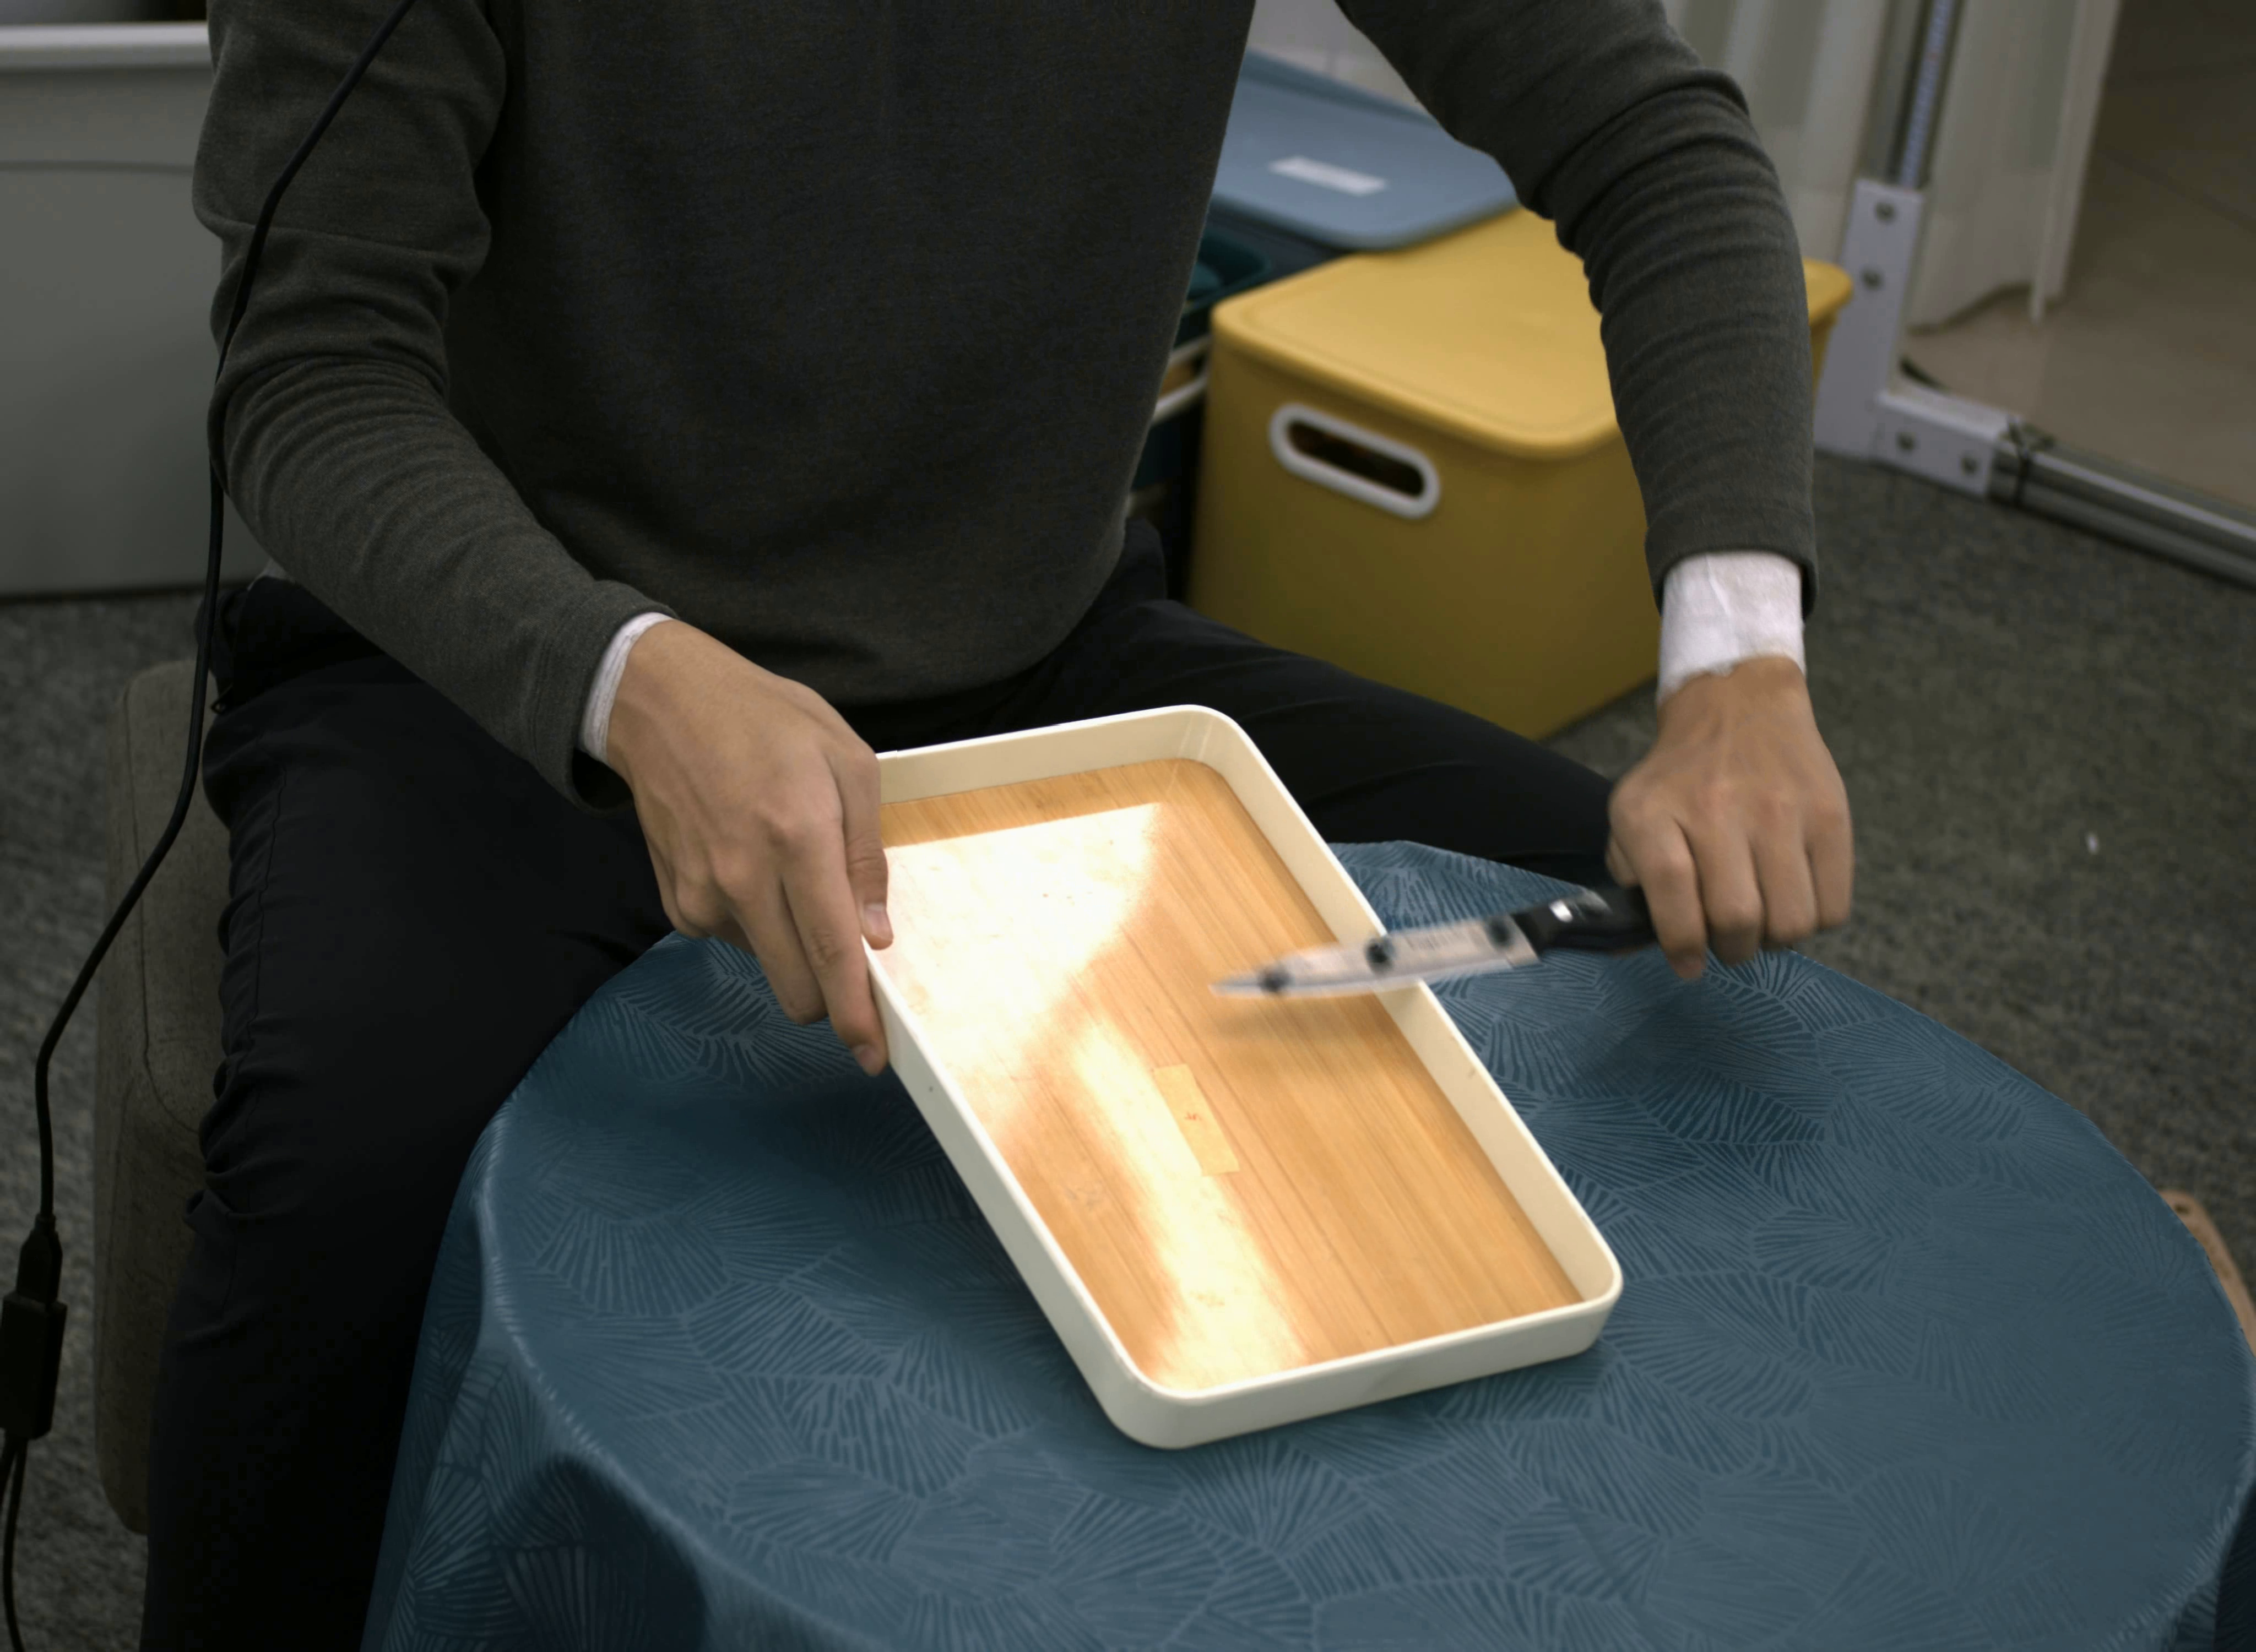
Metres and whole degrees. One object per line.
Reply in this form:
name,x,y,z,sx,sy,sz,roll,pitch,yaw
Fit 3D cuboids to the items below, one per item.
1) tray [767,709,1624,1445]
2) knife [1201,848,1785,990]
tray,0.019,0.077,1.787,0.190,0.027,0.303,-8,46,-29
knife,0.127,0.033,1.853,0.236,0.016,0.025,-10,46,-27
